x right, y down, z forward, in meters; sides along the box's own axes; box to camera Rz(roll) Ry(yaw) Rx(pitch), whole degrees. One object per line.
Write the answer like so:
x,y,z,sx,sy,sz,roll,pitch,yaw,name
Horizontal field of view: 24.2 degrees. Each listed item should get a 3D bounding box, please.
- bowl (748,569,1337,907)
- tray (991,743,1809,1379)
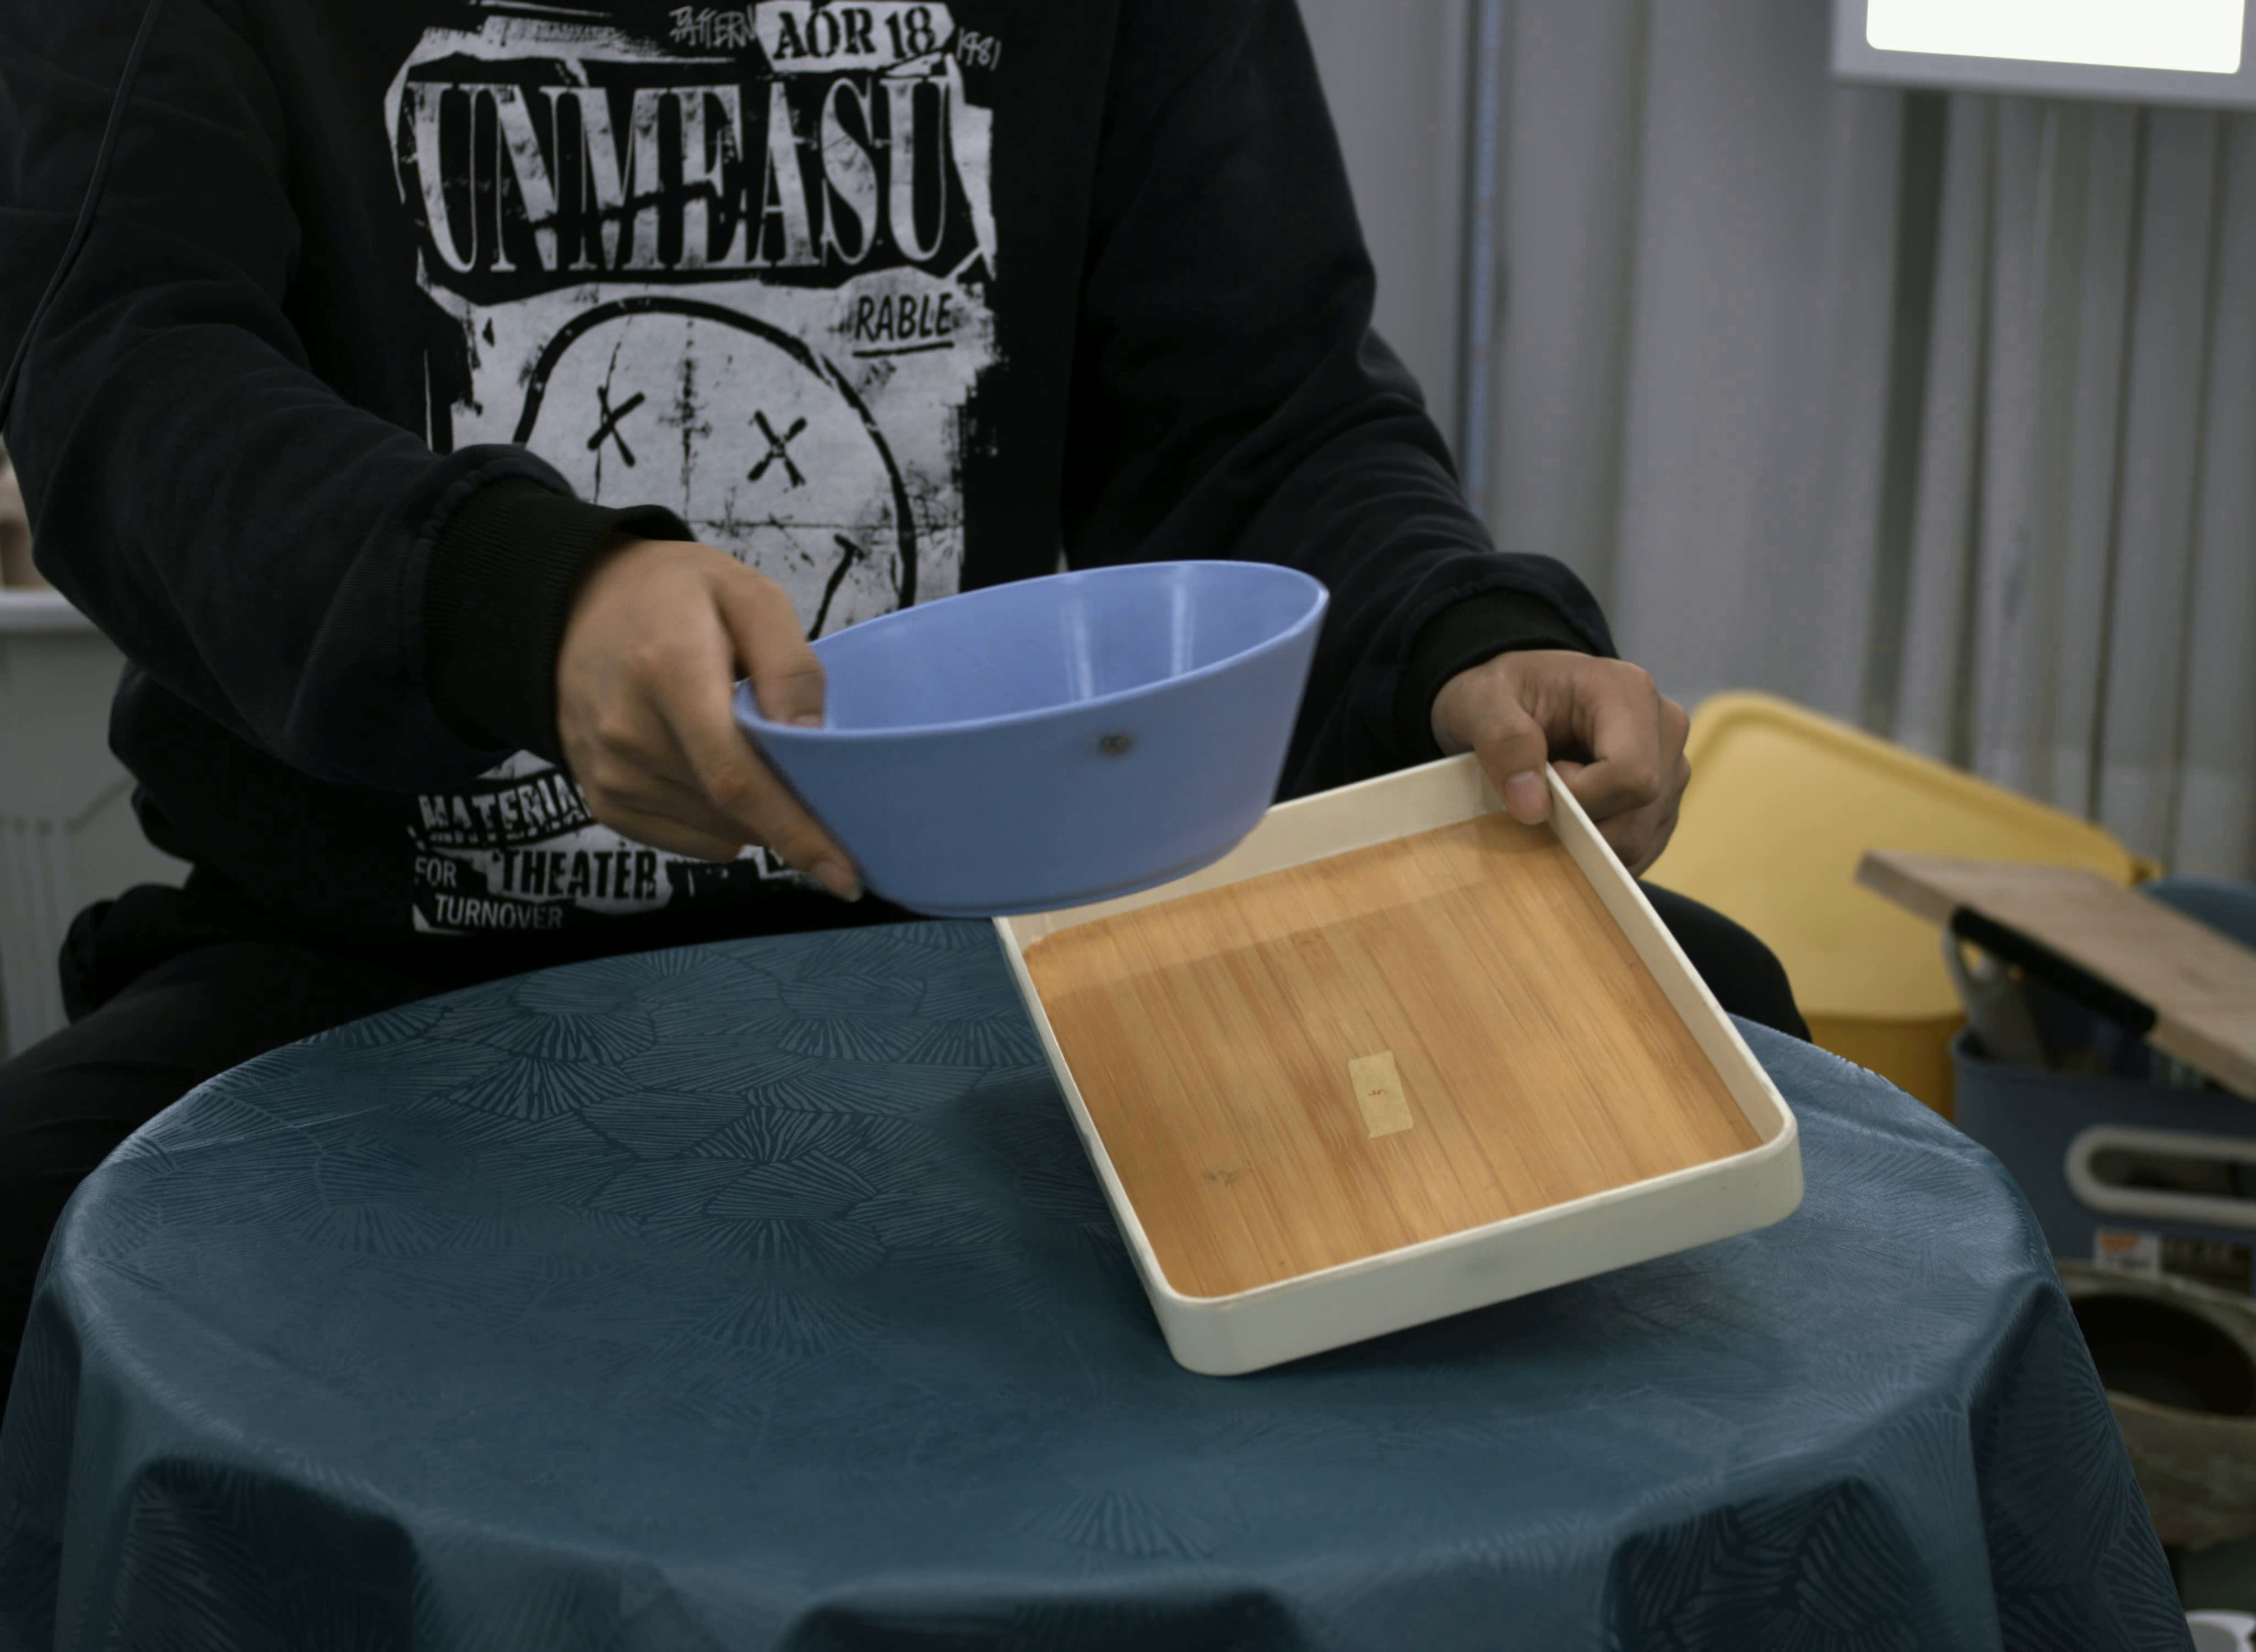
-0.021,-0.024,1.547,0.175,0.071,0.175,-8,14,3,bowl
0.075,0.065,1.609,0.191,0.028,0.297,-15,27,-6,tray
